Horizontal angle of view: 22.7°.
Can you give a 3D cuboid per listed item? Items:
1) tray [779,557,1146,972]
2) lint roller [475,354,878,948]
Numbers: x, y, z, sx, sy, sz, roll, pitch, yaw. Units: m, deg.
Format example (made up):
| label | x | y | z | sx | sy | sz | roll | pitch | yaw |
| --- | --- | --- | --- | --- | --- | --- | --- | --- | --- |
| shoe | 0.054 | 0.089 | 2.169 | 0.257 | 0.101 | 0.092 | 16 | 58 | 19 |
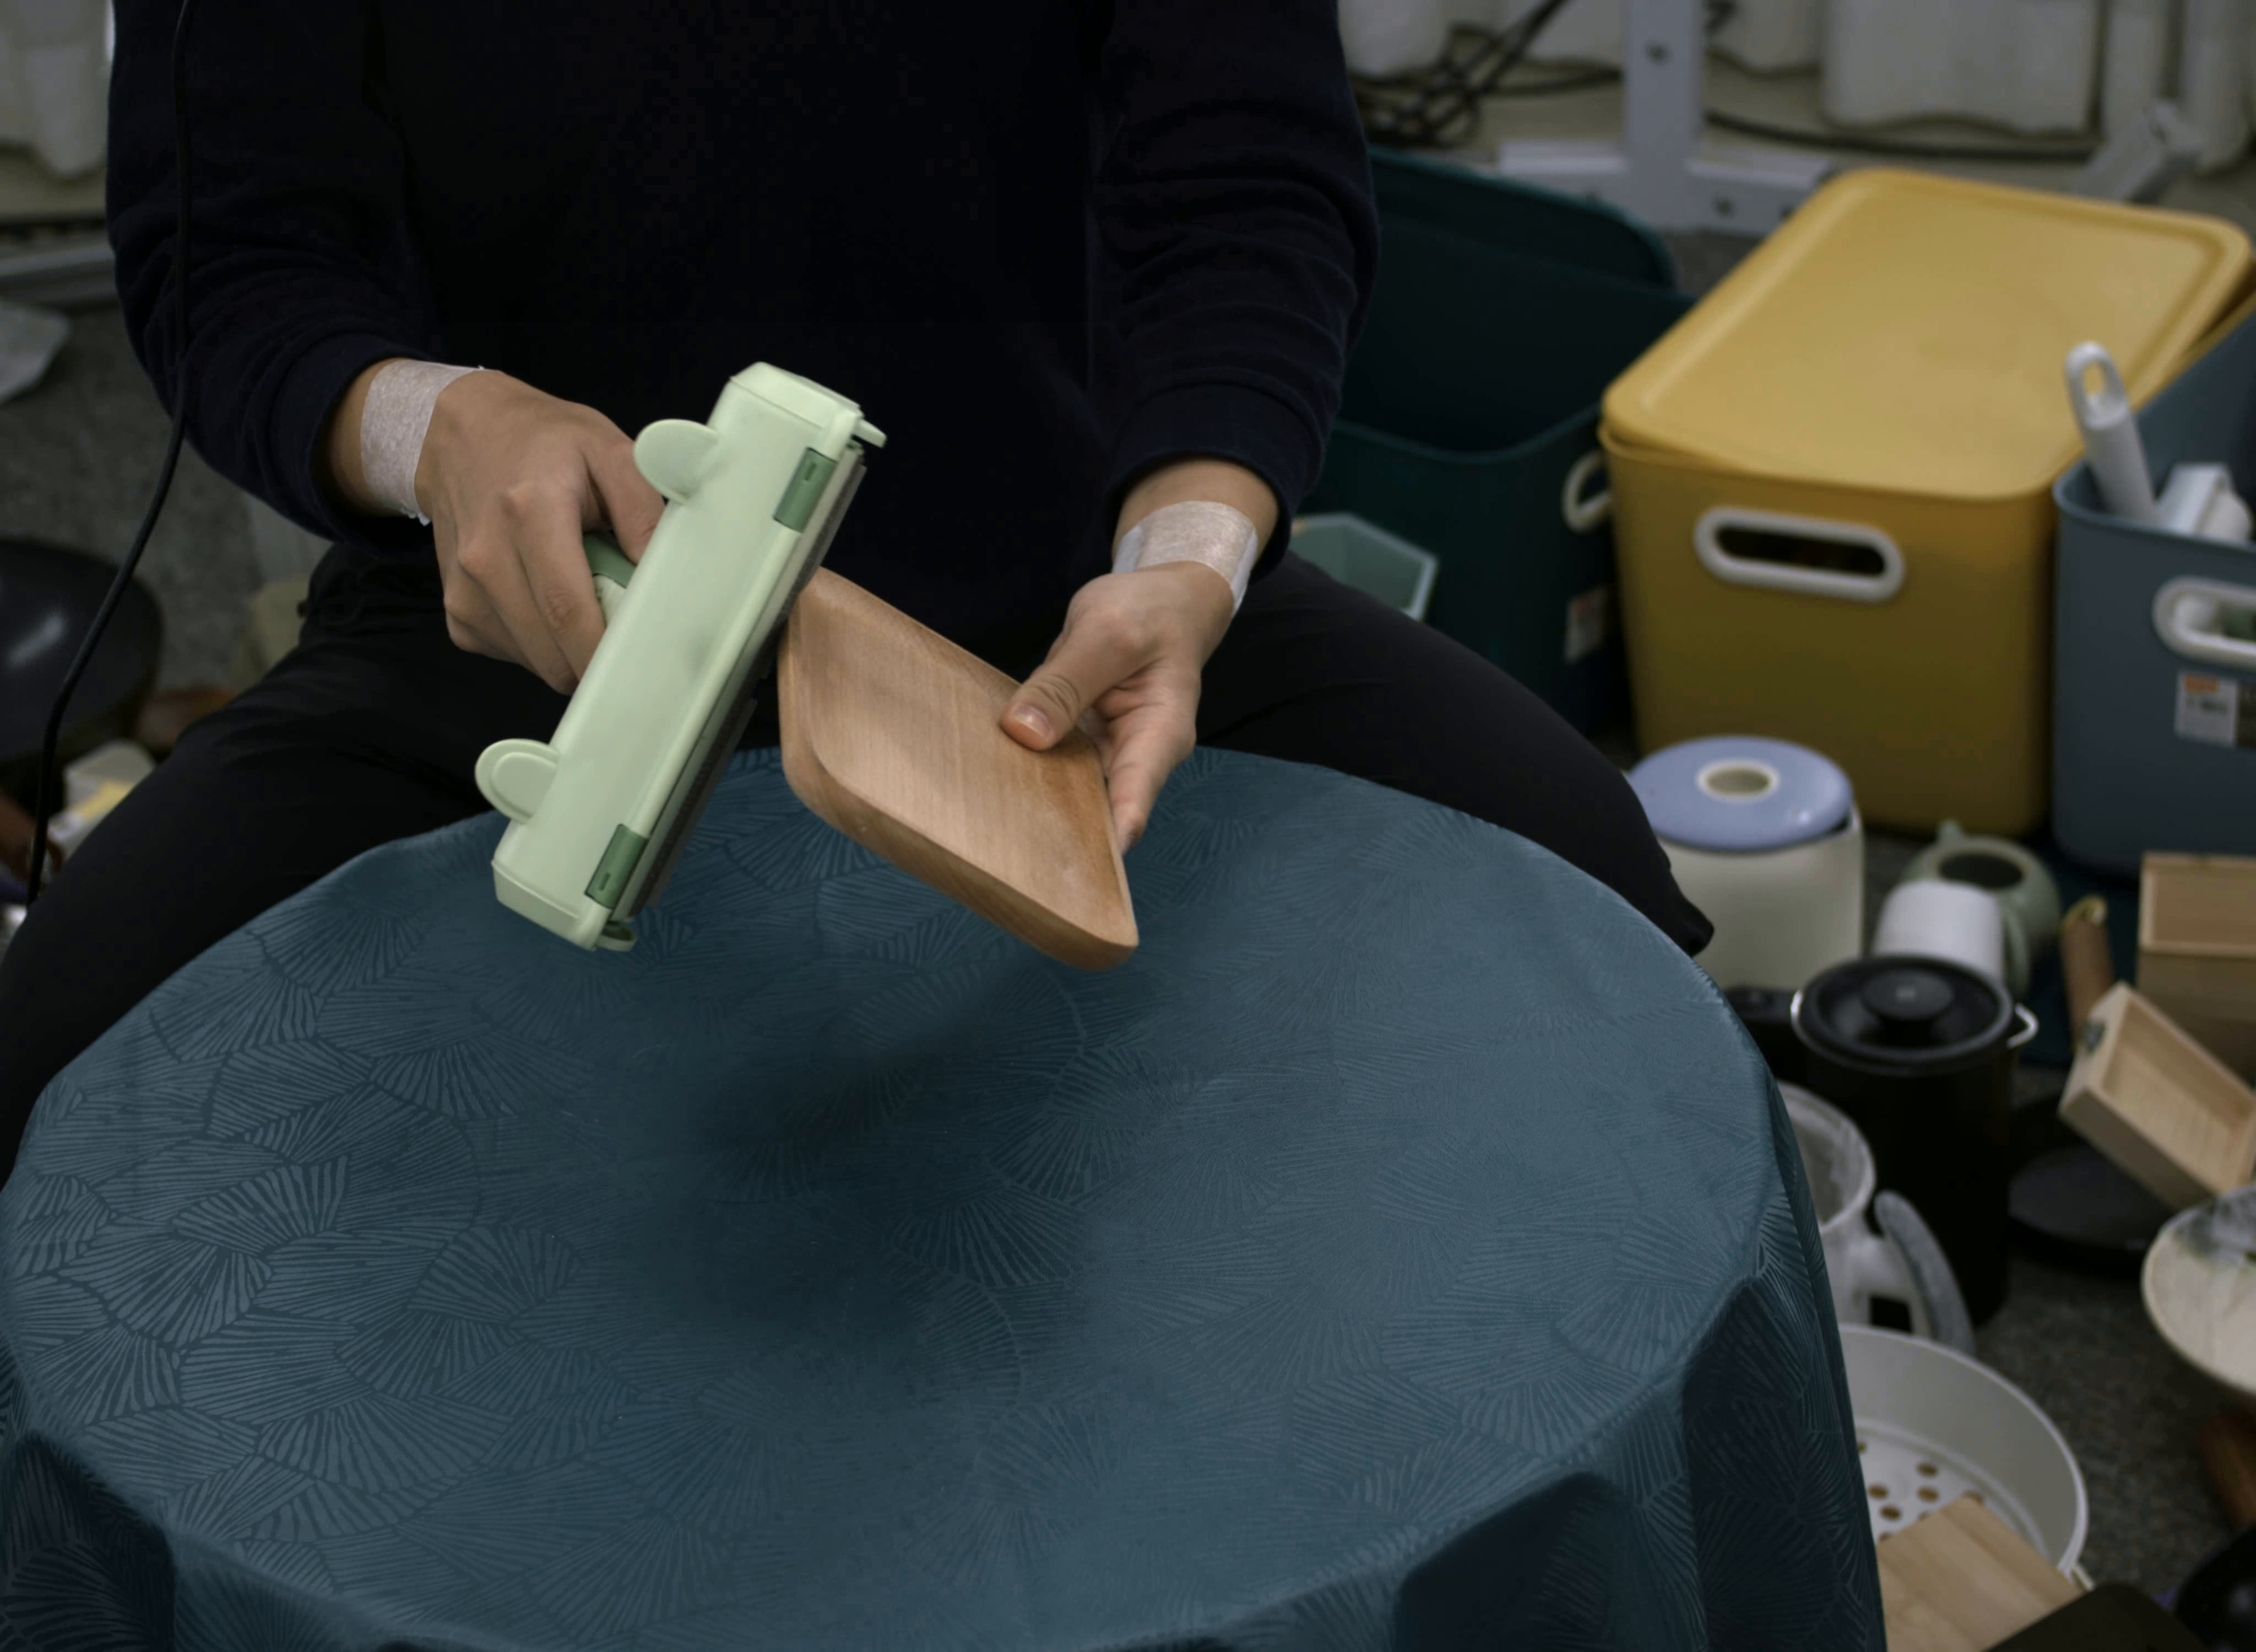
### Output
| label | x | y | z | sx | sy | sz | roll | pitch | yaw |
| --- | --- | --- | --- | --- | --- | --- | --- | --- | --- |
| tray | -0.058 | -0.022 | 1.814 | 0.130 | 0.023 | 0.253 | 34 | 12 | -13 |
| lint roller | -0.181 | -0.078 | 1.868 | 0.082 | 0.199 | 0.183 | 25 | 3 | -43 |
